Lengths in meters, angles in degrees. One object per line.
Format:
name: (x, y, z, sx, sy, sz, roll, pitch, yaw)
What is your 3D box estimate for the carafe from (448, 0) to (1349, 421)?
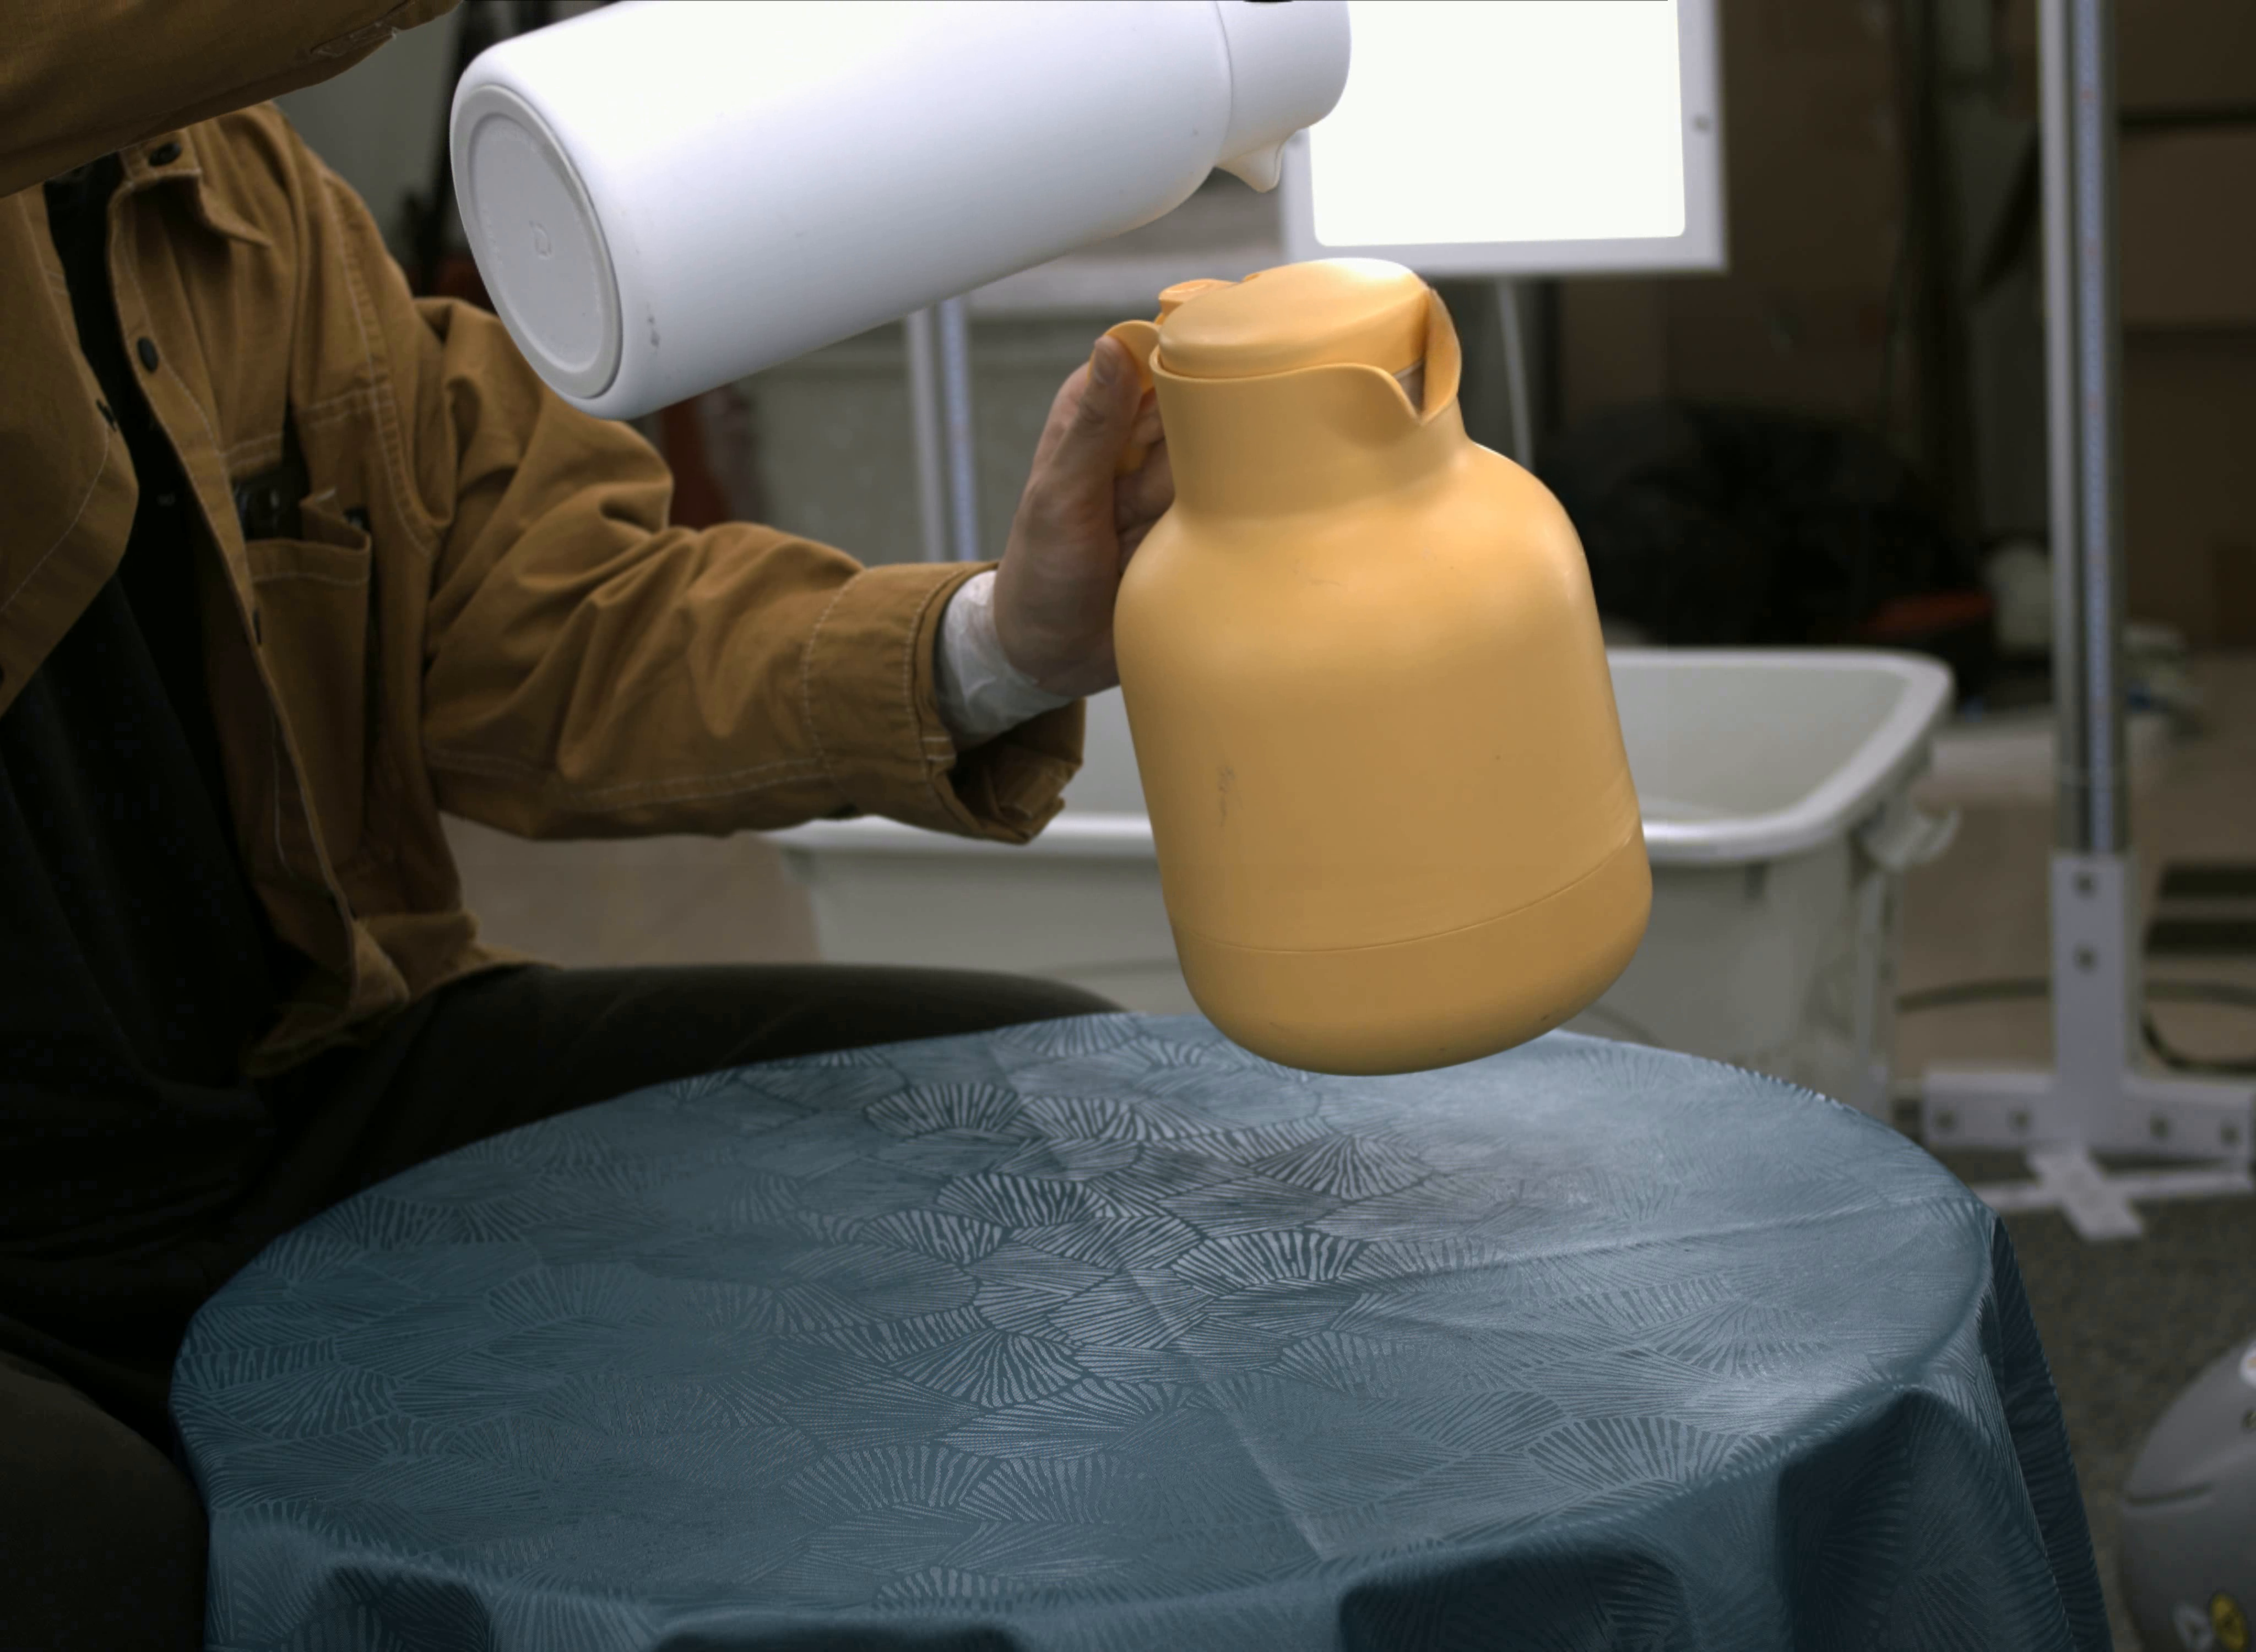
carafe: (-0.068, -0.235, 1.667, 0.264, 0.173, 0.126, -23, 33, -22)

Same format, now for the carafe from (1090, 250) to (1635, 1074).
carafe: (0.066, -0.063, 1.839, 0.160, 0.261, 0.206, -20, 23, -26)
